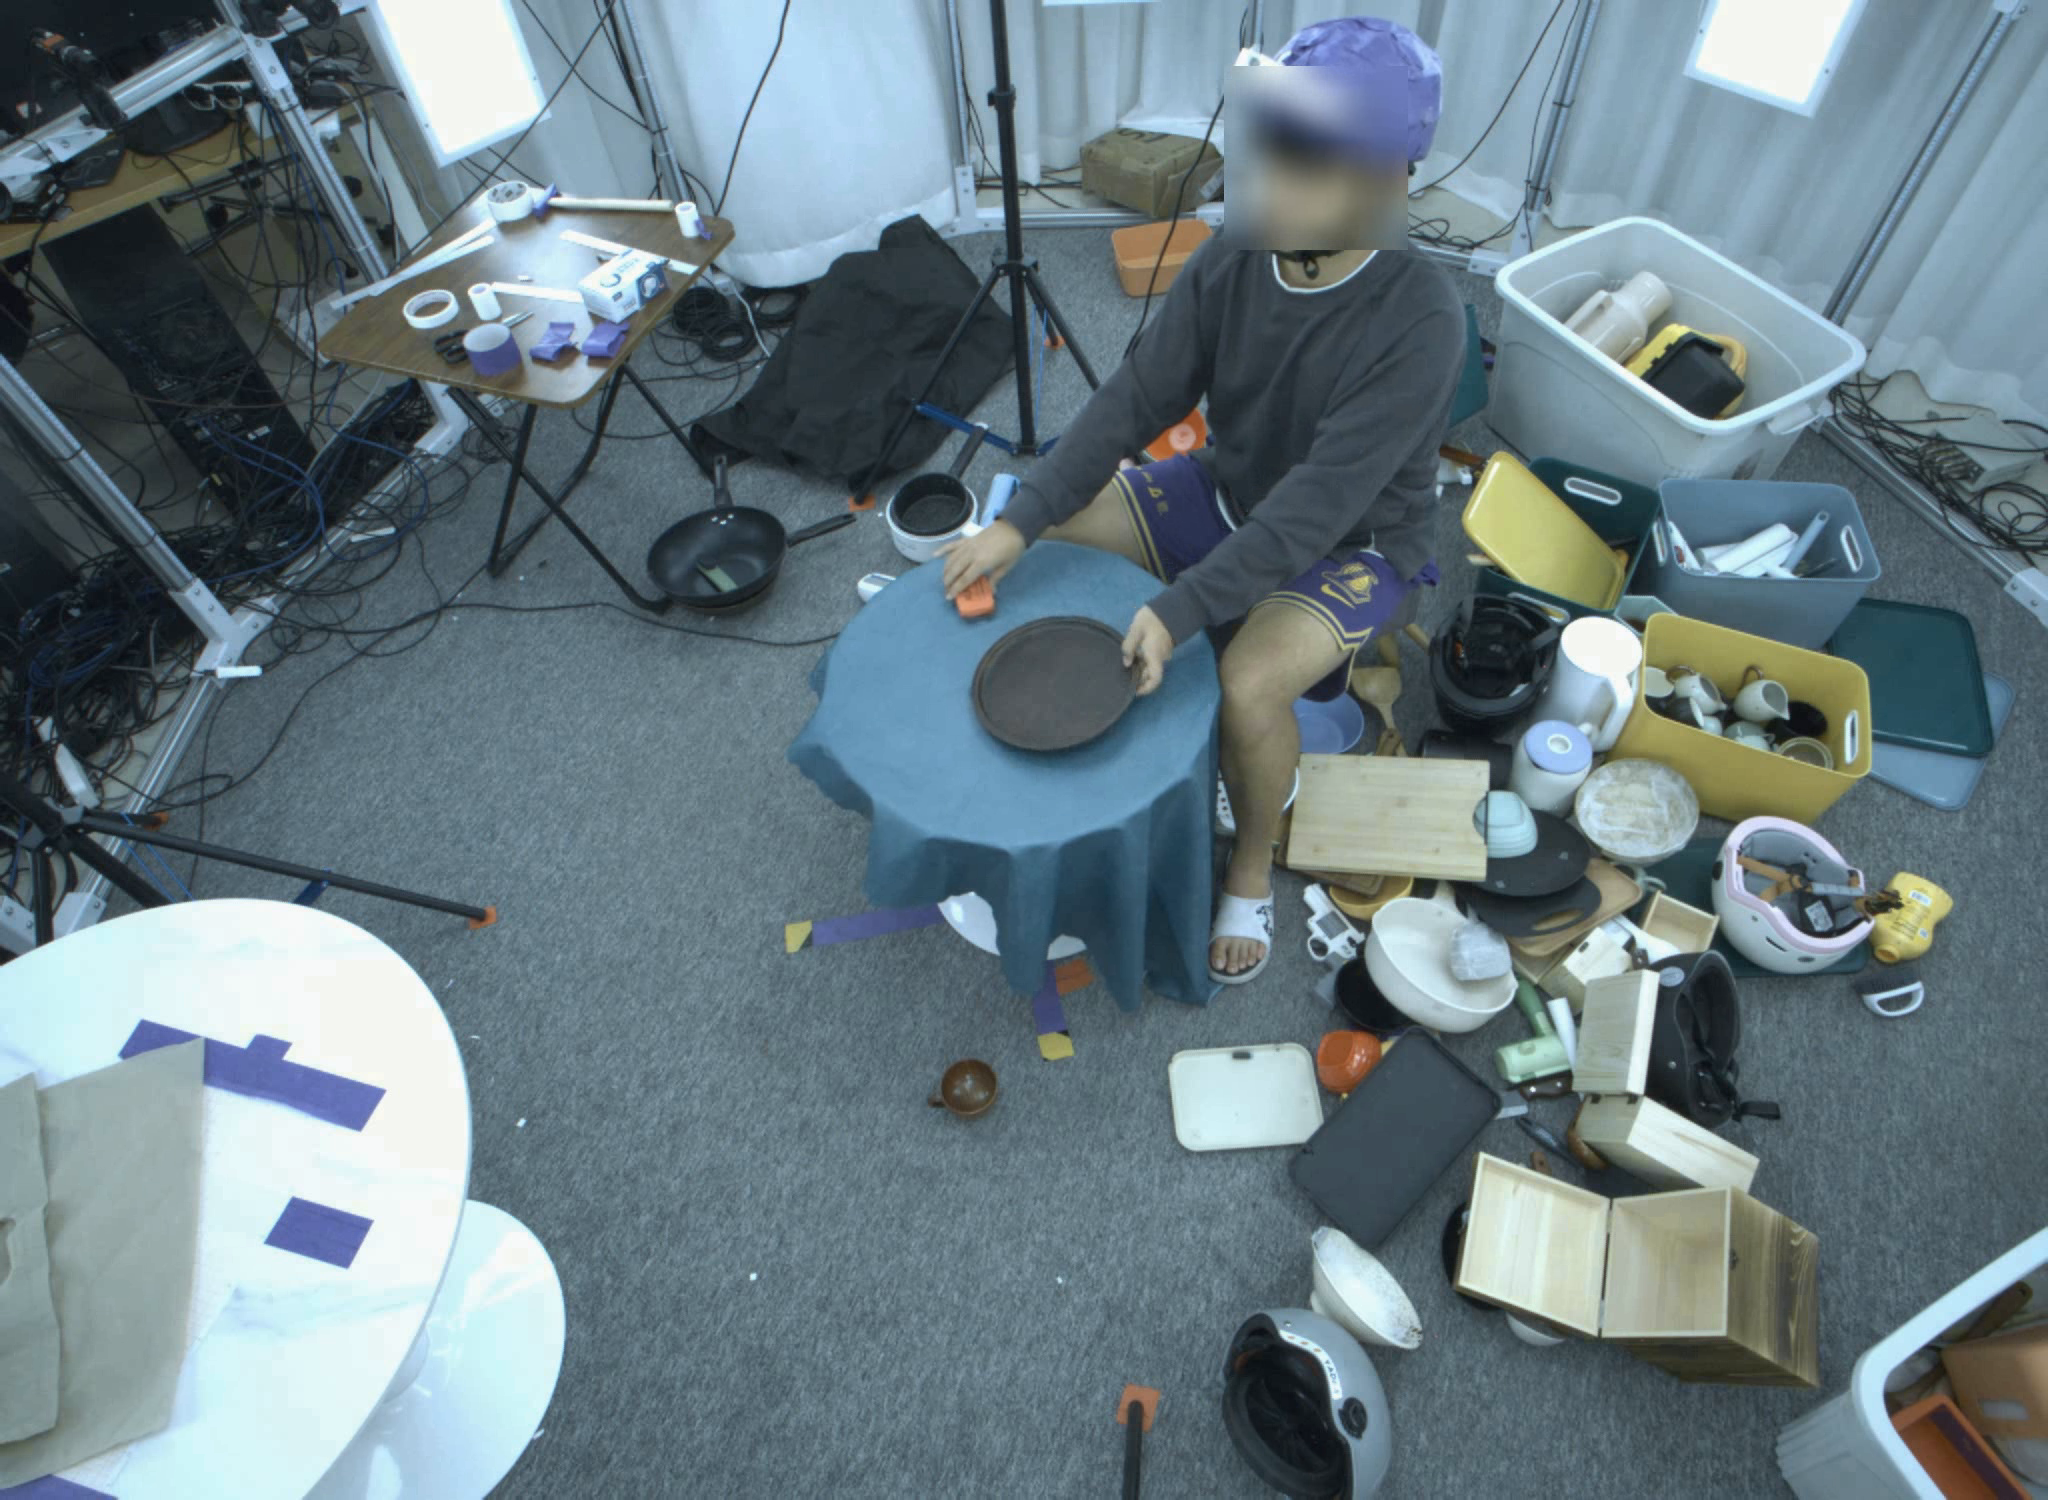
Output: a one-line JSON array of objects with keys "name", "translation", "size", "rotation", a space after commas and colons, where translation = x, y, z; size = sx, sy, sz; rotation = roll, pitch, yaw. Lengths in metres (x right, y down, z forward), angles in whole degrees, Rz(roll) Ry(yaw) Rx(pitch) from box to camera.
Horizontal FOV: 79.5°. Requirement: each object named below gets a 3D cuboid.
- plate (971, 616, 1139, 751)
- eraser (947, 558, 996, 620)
[{"name": "plate", "translation": [0.046, -0.099, 1.826], "size": [0.253, 0.029, 0.252], "rotation": [-6, 52, 9]}, {"name": "eraser", "translation": [-0.084, -0.258, 1.957], "size": [0.059, 0.023, 0.106], "rotation": [-15, 55, -4]}]
